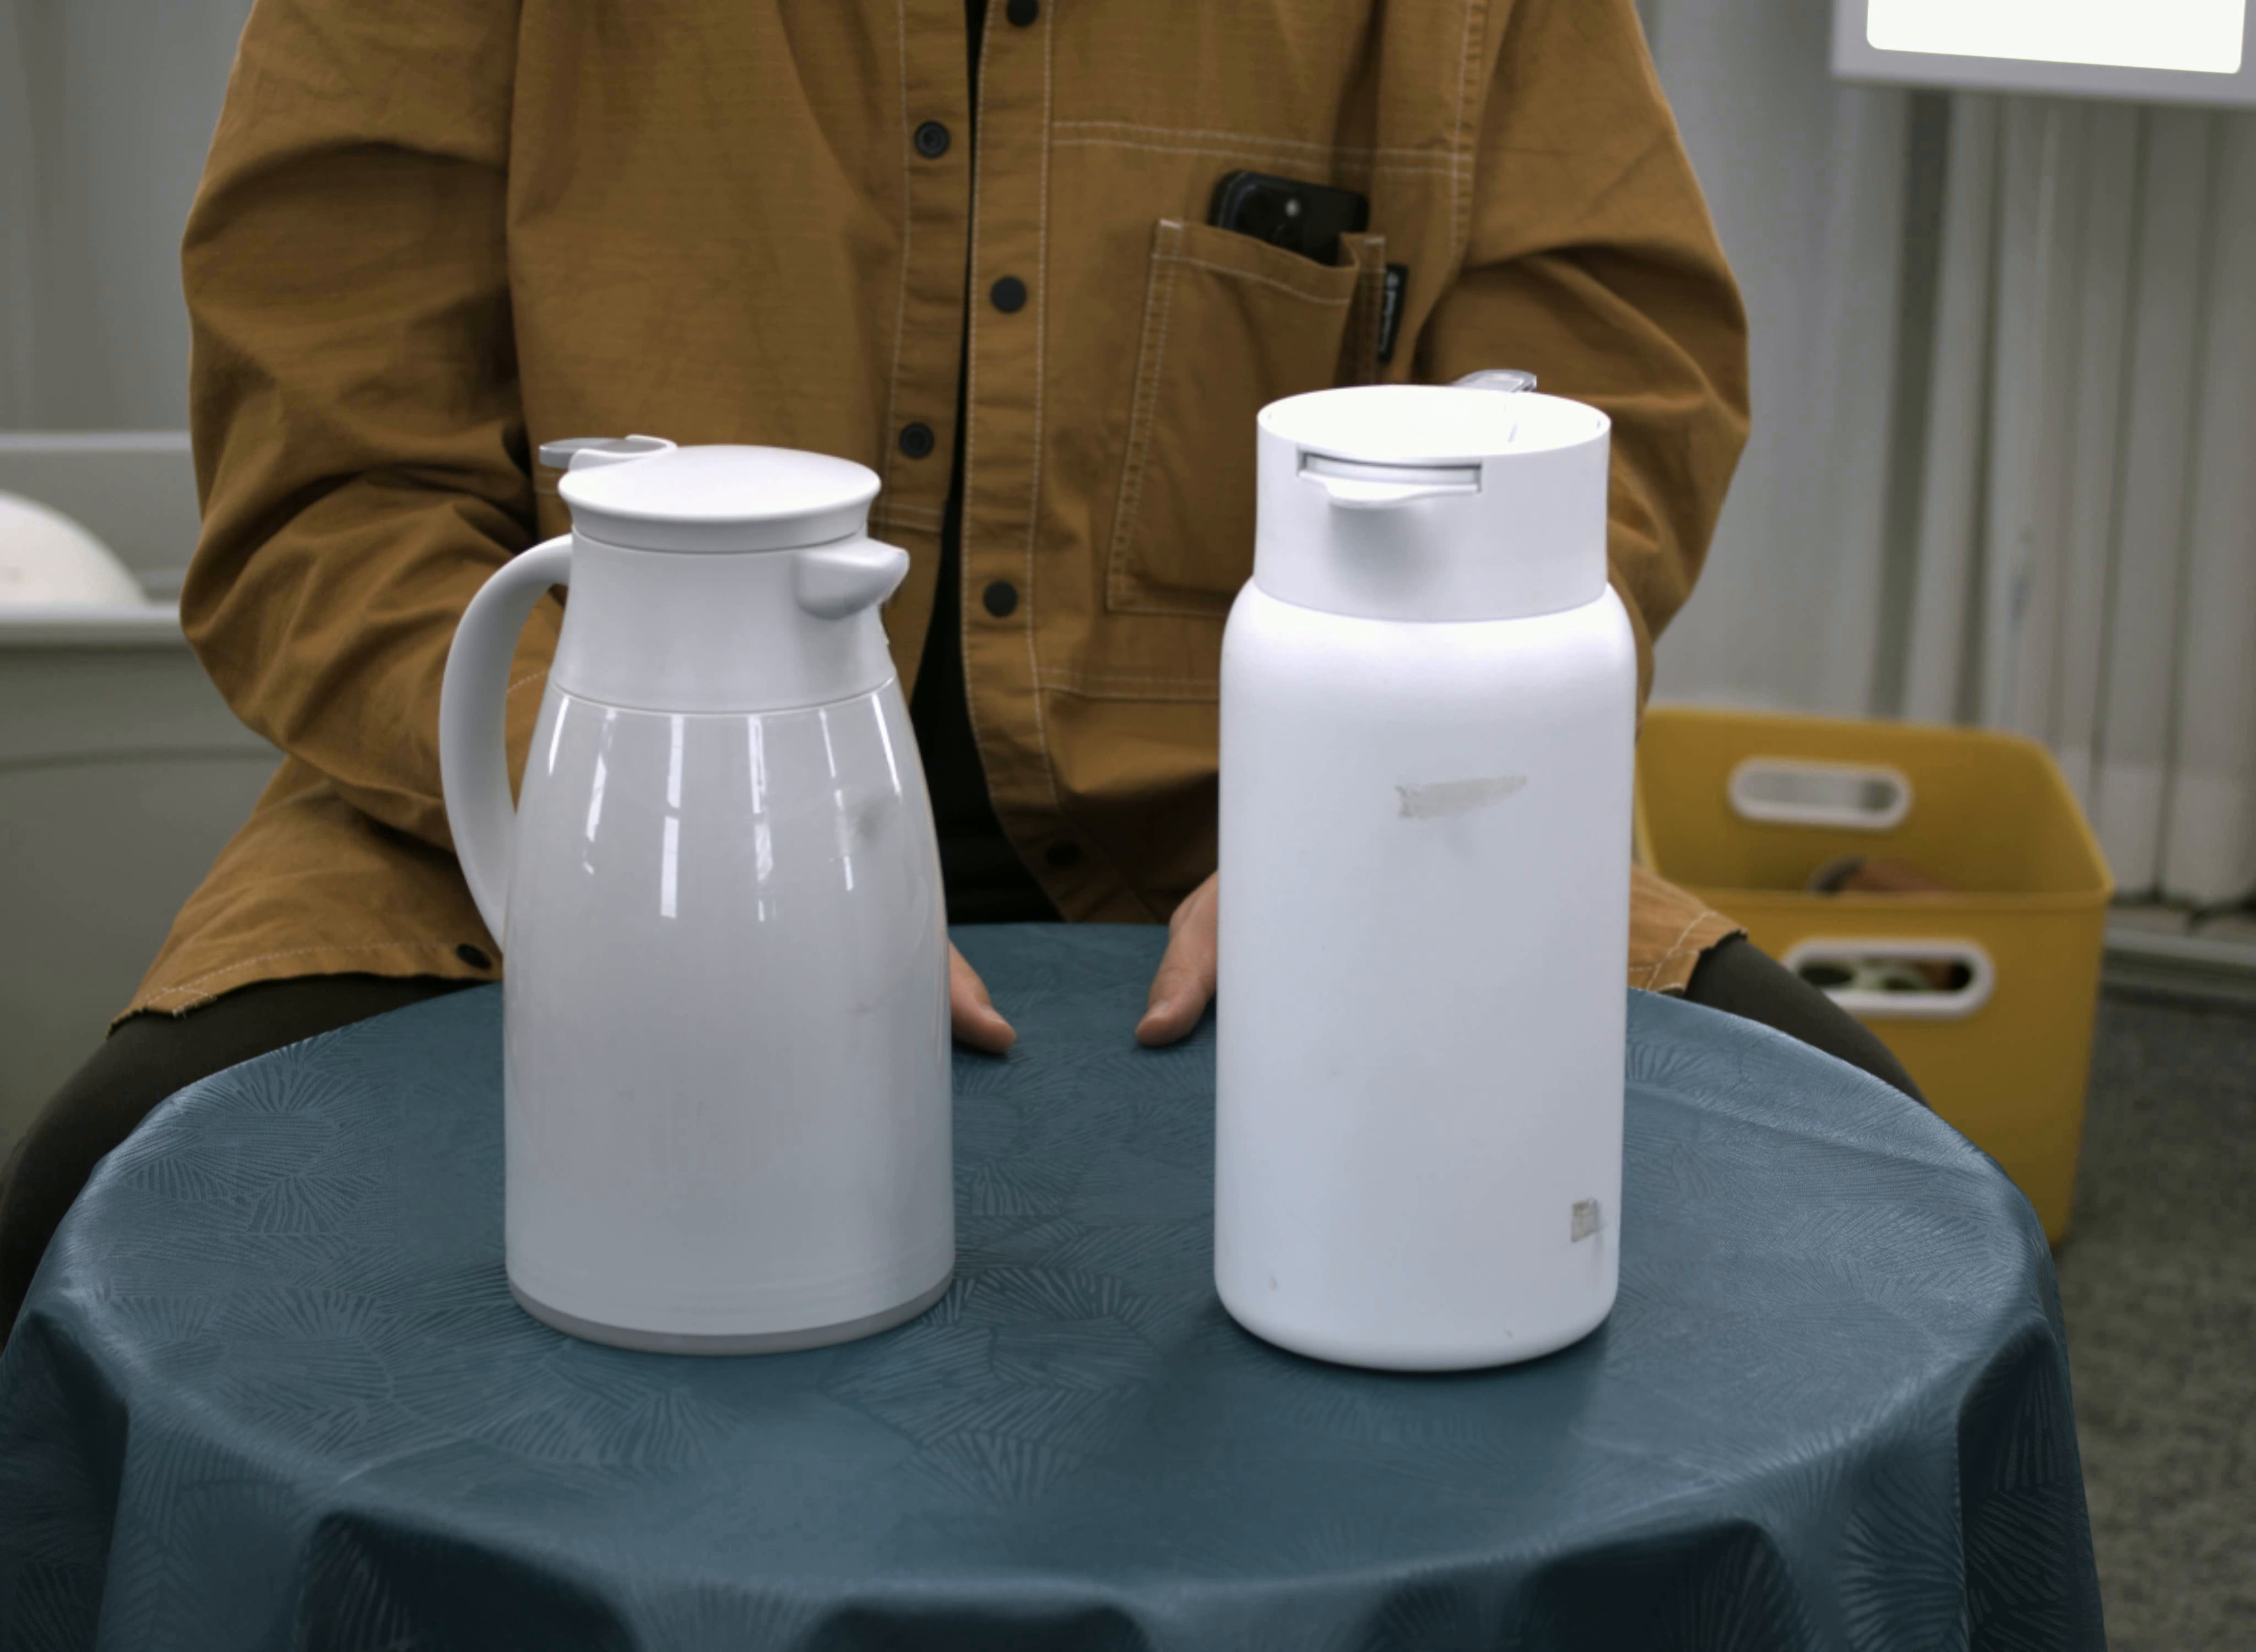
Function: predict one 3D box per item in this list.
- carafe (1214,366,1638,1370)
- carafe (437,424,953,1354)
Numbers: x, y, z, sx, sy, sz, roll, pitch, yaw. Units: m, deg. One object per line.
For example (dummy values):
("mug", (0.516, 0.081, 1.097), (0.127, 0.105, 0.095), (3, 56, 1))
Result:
("carafe", (0.088, 0.007, 1.502), (0.123, 0.271, 0.173), (4, 16, 19))
("carafe", (-0.132, 0.010, 1.520), (0.165, 0.250, 0.133), (10, 19, 34))
